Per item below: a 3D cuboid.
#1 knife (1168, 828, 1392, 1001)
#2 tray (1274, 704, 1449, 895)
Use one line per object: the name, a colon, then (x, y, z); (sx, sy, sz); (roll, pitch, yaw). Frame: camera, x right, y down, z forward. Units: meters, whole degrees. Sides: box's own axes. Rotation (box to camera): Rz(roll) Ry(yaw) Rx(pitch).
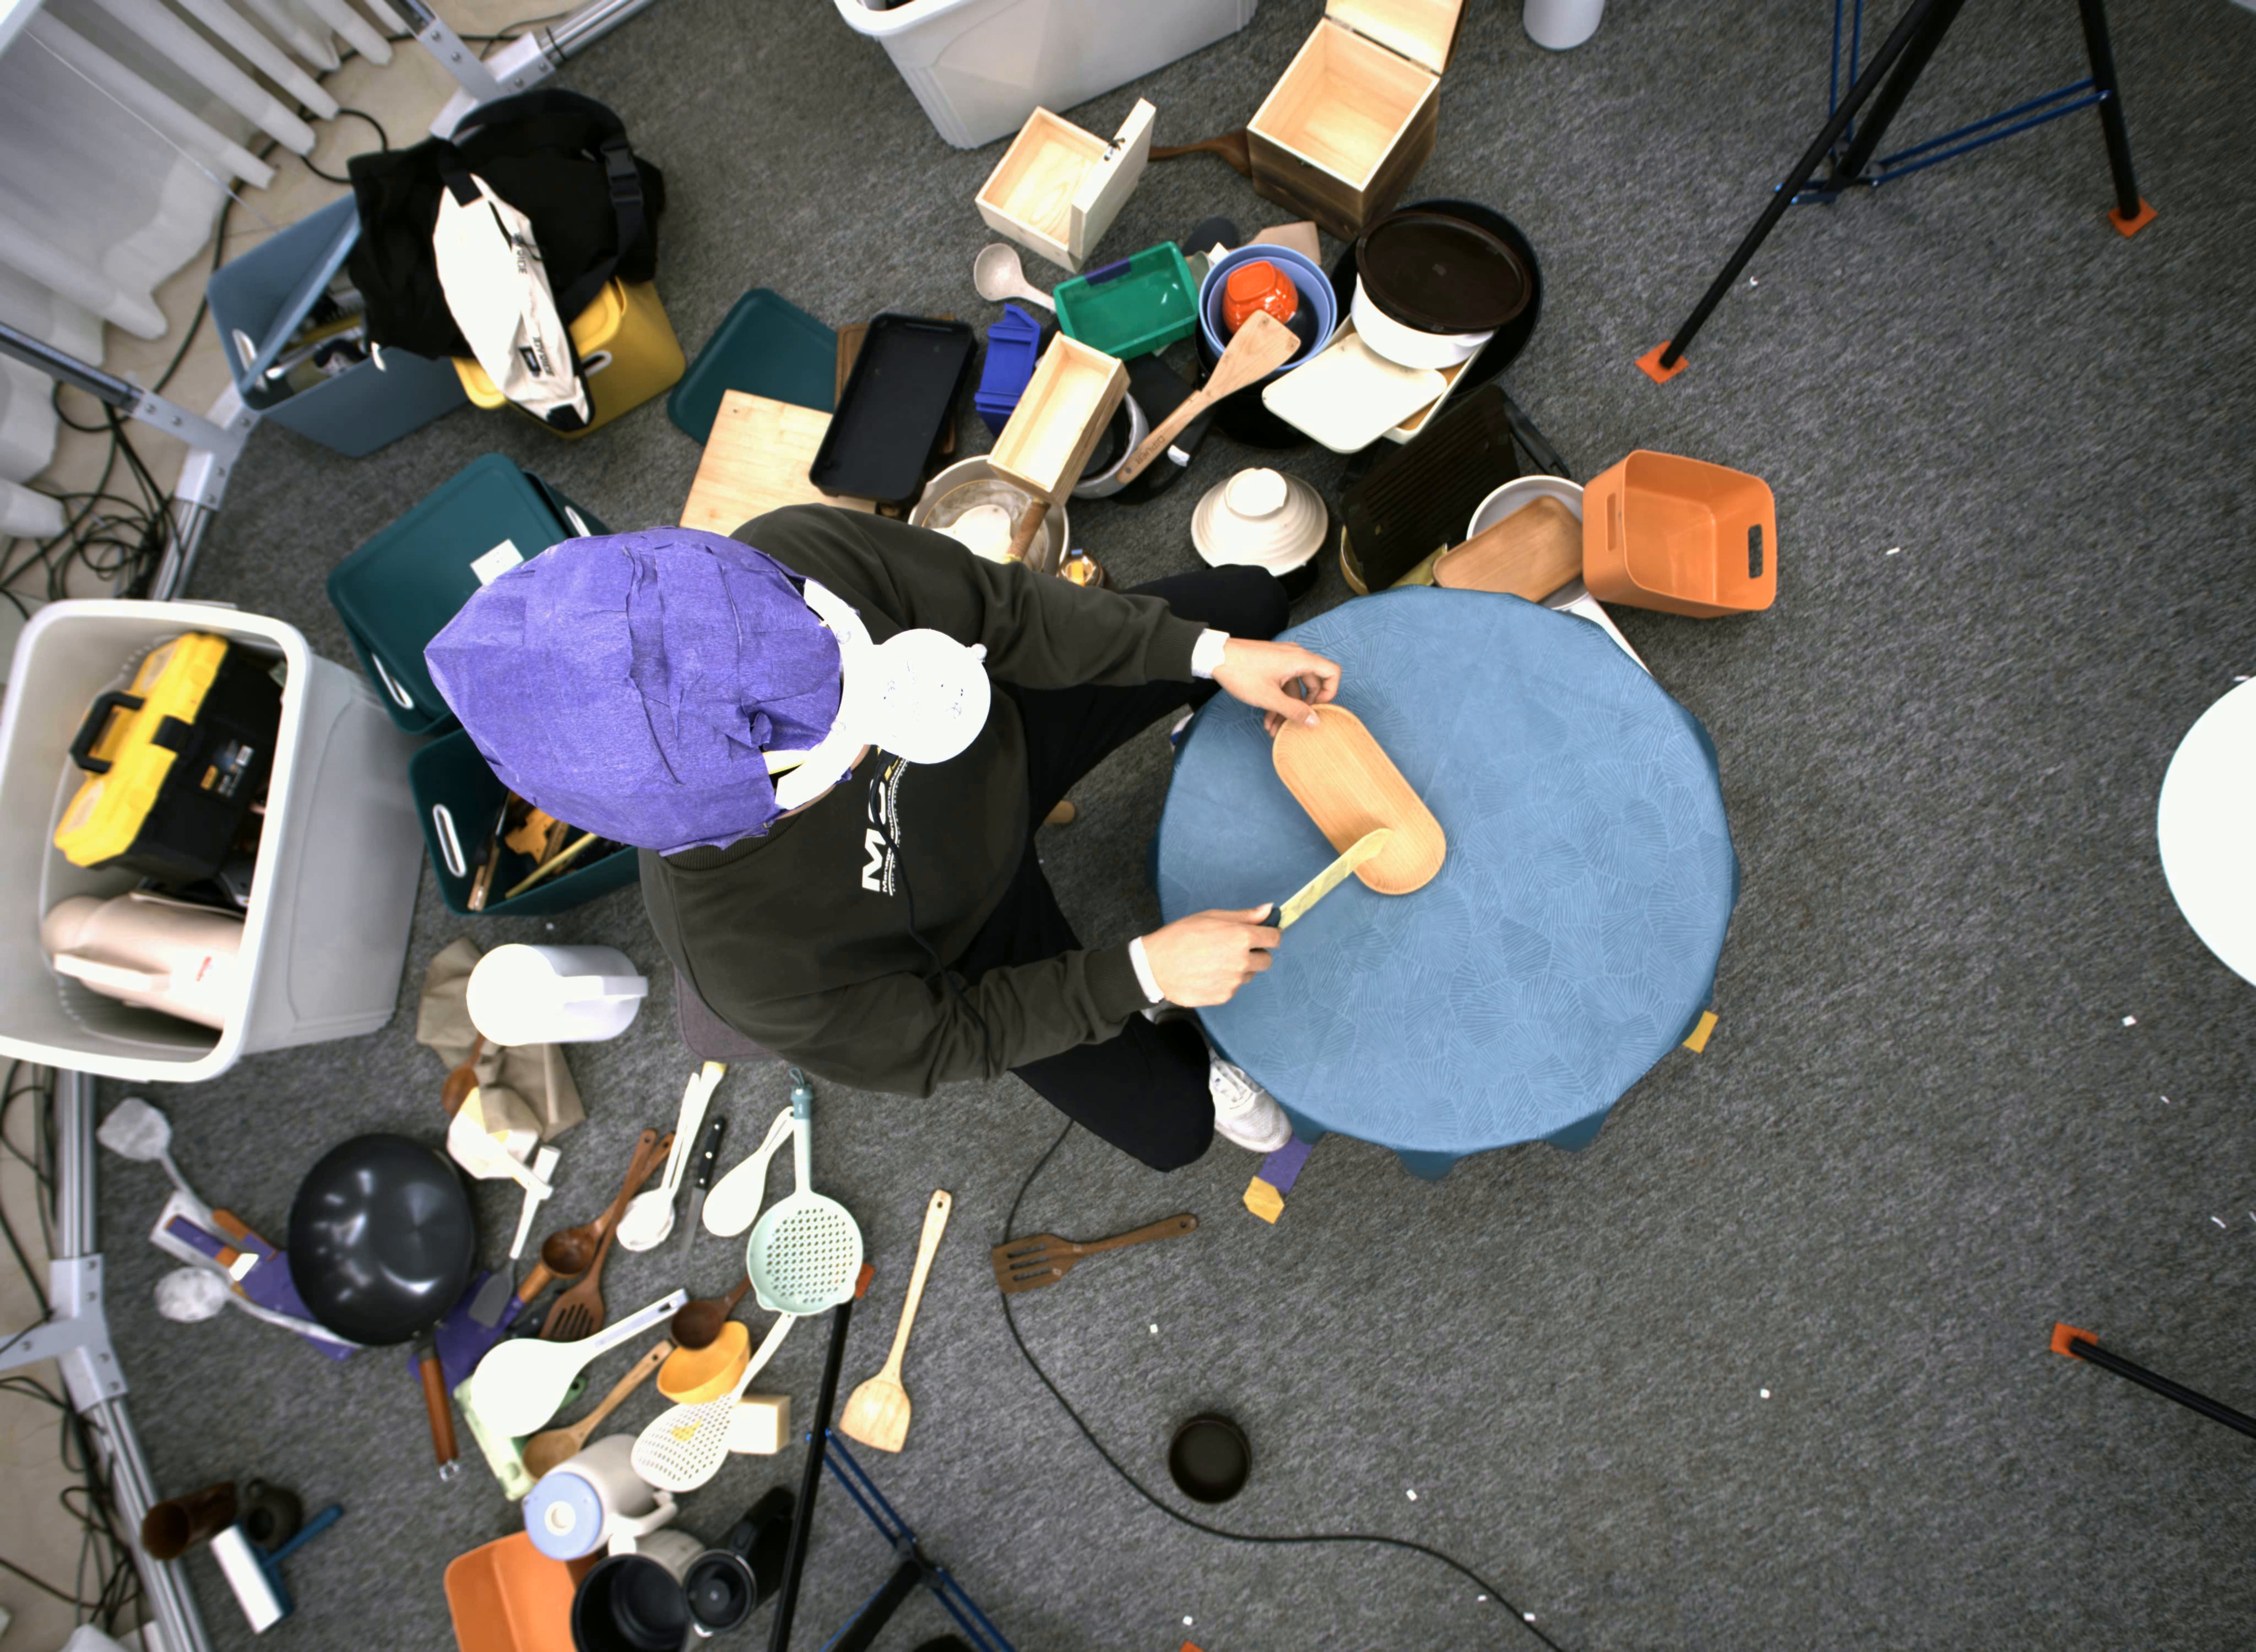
knife: (0.157, 0.086, 1.387); (0.287, 0.082, 0.027); (-36, 66, -10)
tray: (0.240, -0.027, 1.421); (0.103, 0.020, 0.233); (-36, 105, 17)
